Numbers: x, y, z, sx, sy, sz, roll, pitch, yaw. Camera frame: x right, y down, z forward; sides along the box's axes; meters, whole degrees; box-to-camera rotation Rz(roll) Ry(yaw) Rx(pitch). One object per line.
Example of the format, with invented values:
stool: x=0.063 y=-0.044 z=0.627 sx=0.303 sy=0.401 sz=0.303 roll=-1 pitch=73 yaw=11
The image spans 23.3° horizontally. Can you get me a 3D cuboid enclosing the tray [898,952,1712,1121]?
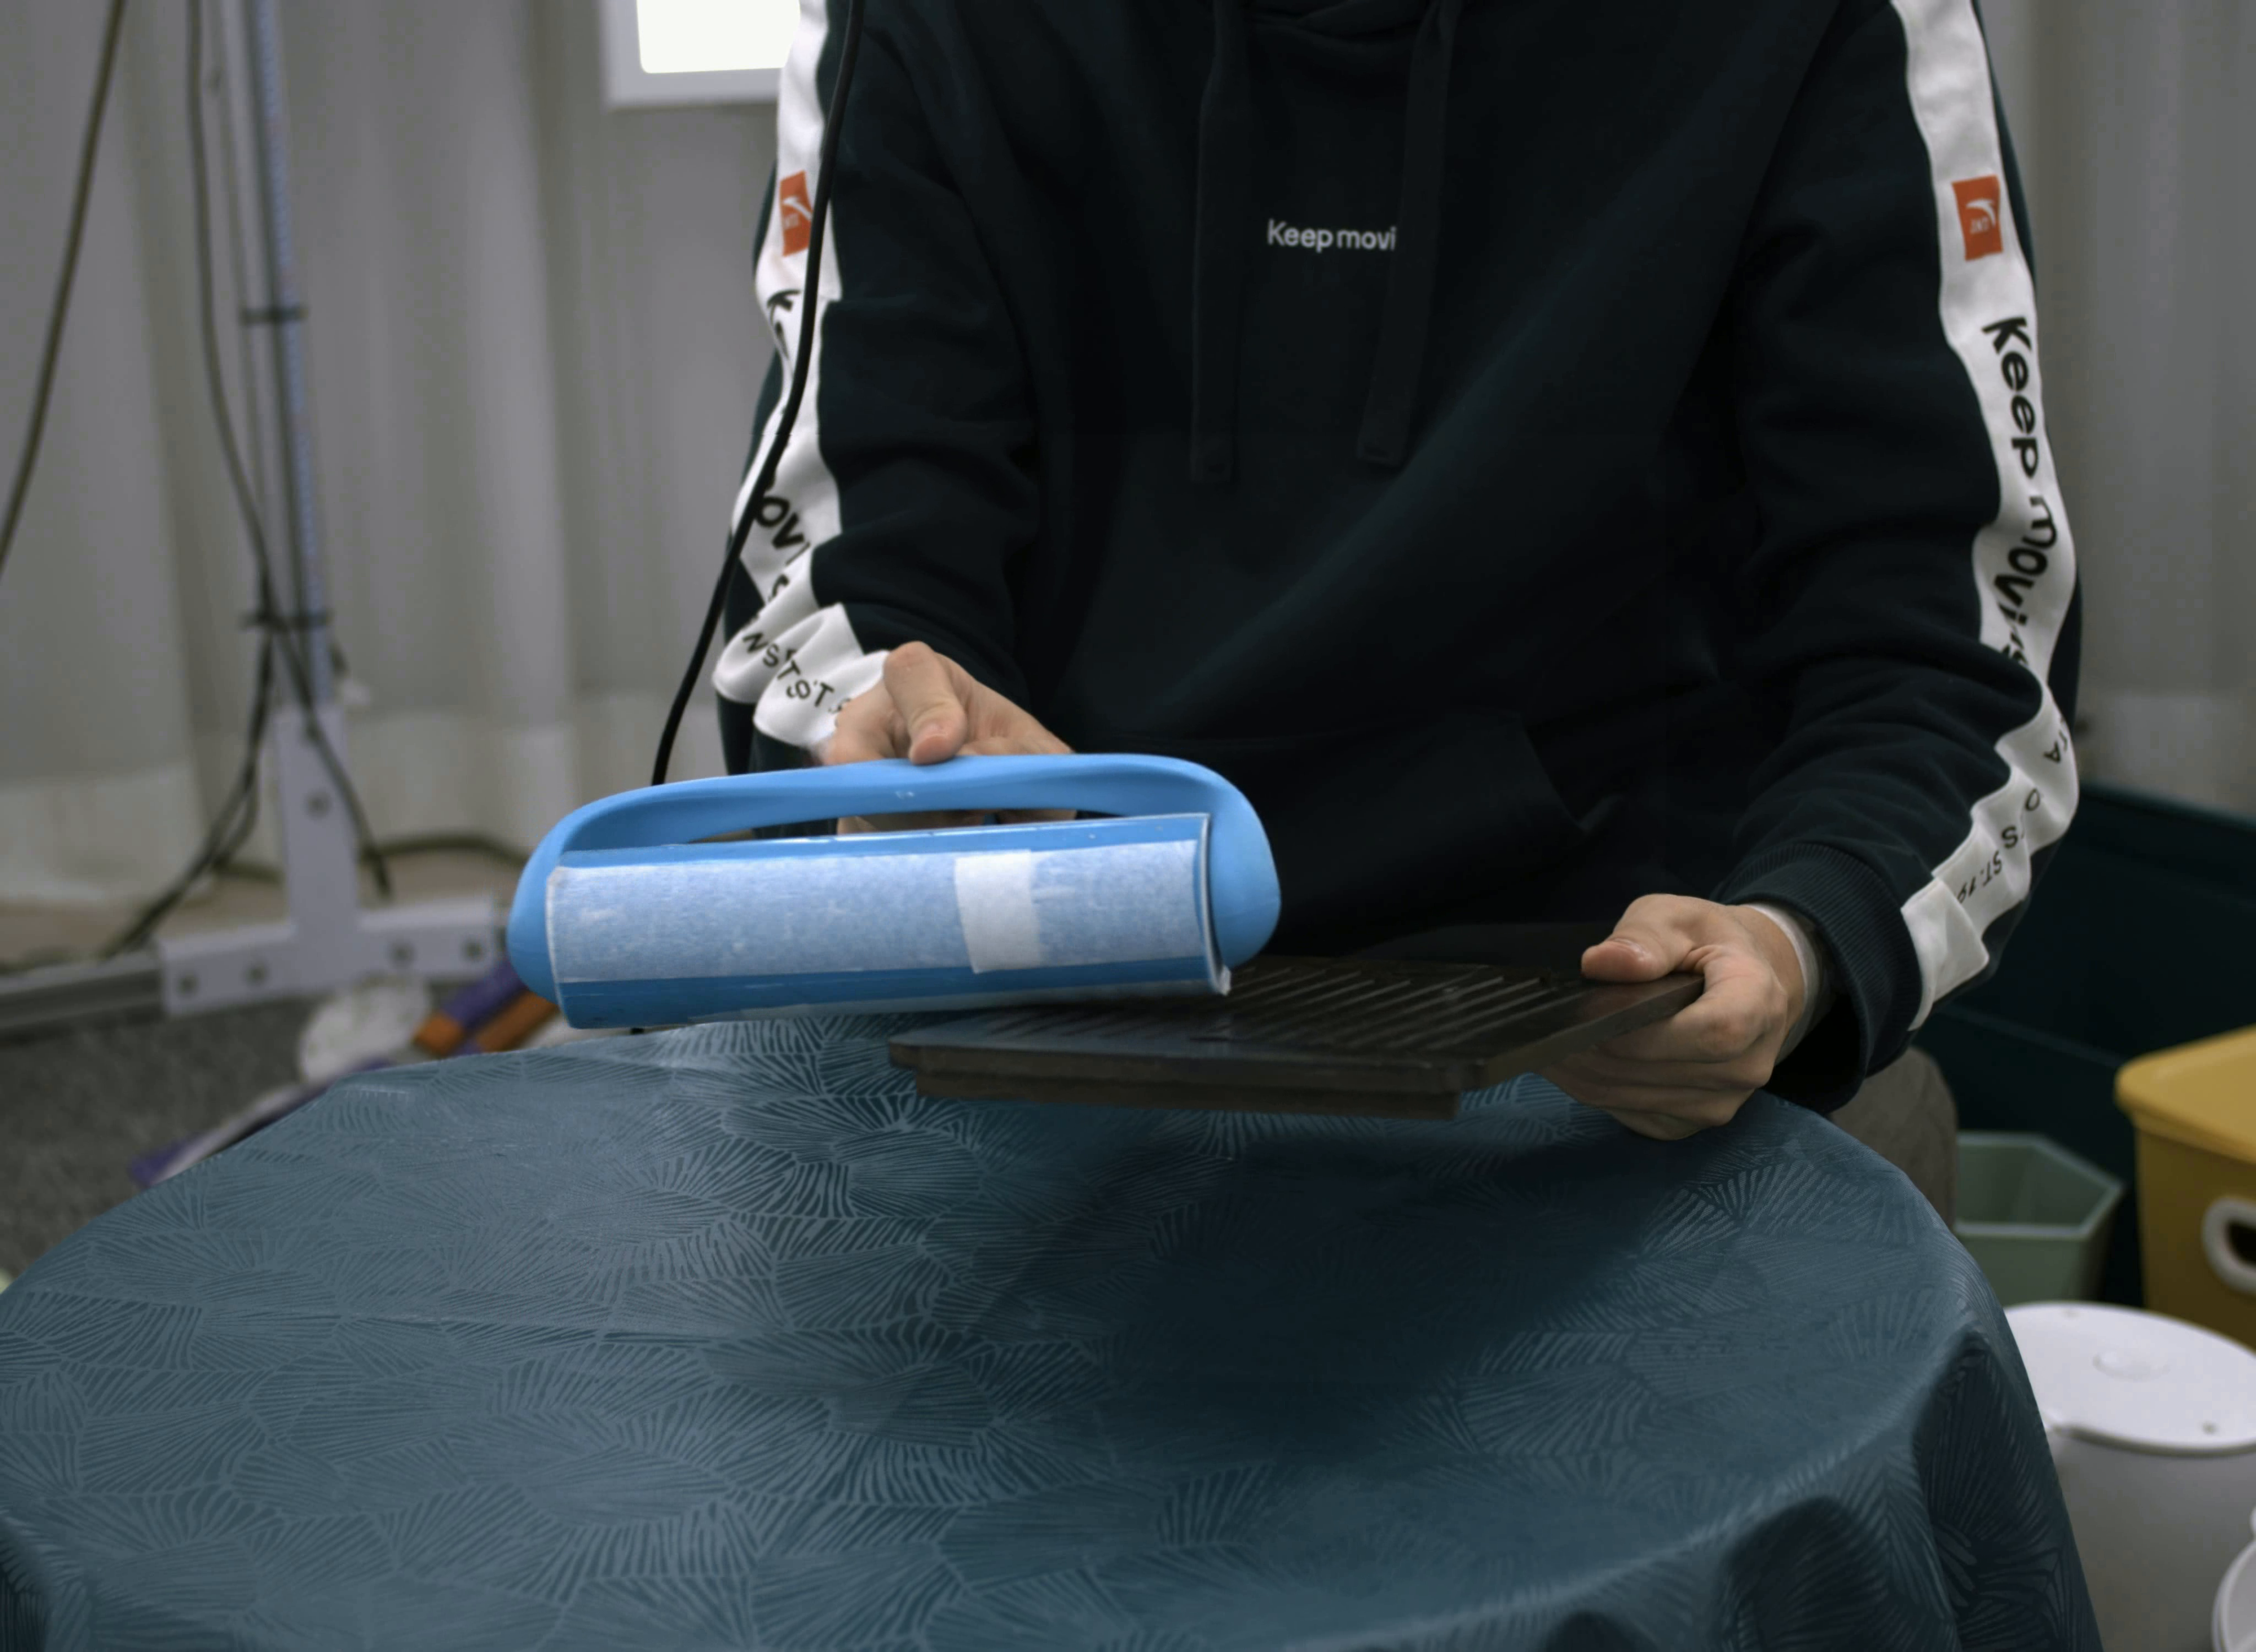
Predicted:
tray: x=0.060 y=0.060 z=1.601 sx=0.170 sy=0.018 sz=0.305 roll=2 pitch=4 yaw=18

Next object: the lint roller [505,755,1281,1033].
lint roller: x=-0.066 y=0.011 z=1.652 sx=0.228 sy=0.067 sz=0.181 roll=-6 pitch=14 yaw=5
